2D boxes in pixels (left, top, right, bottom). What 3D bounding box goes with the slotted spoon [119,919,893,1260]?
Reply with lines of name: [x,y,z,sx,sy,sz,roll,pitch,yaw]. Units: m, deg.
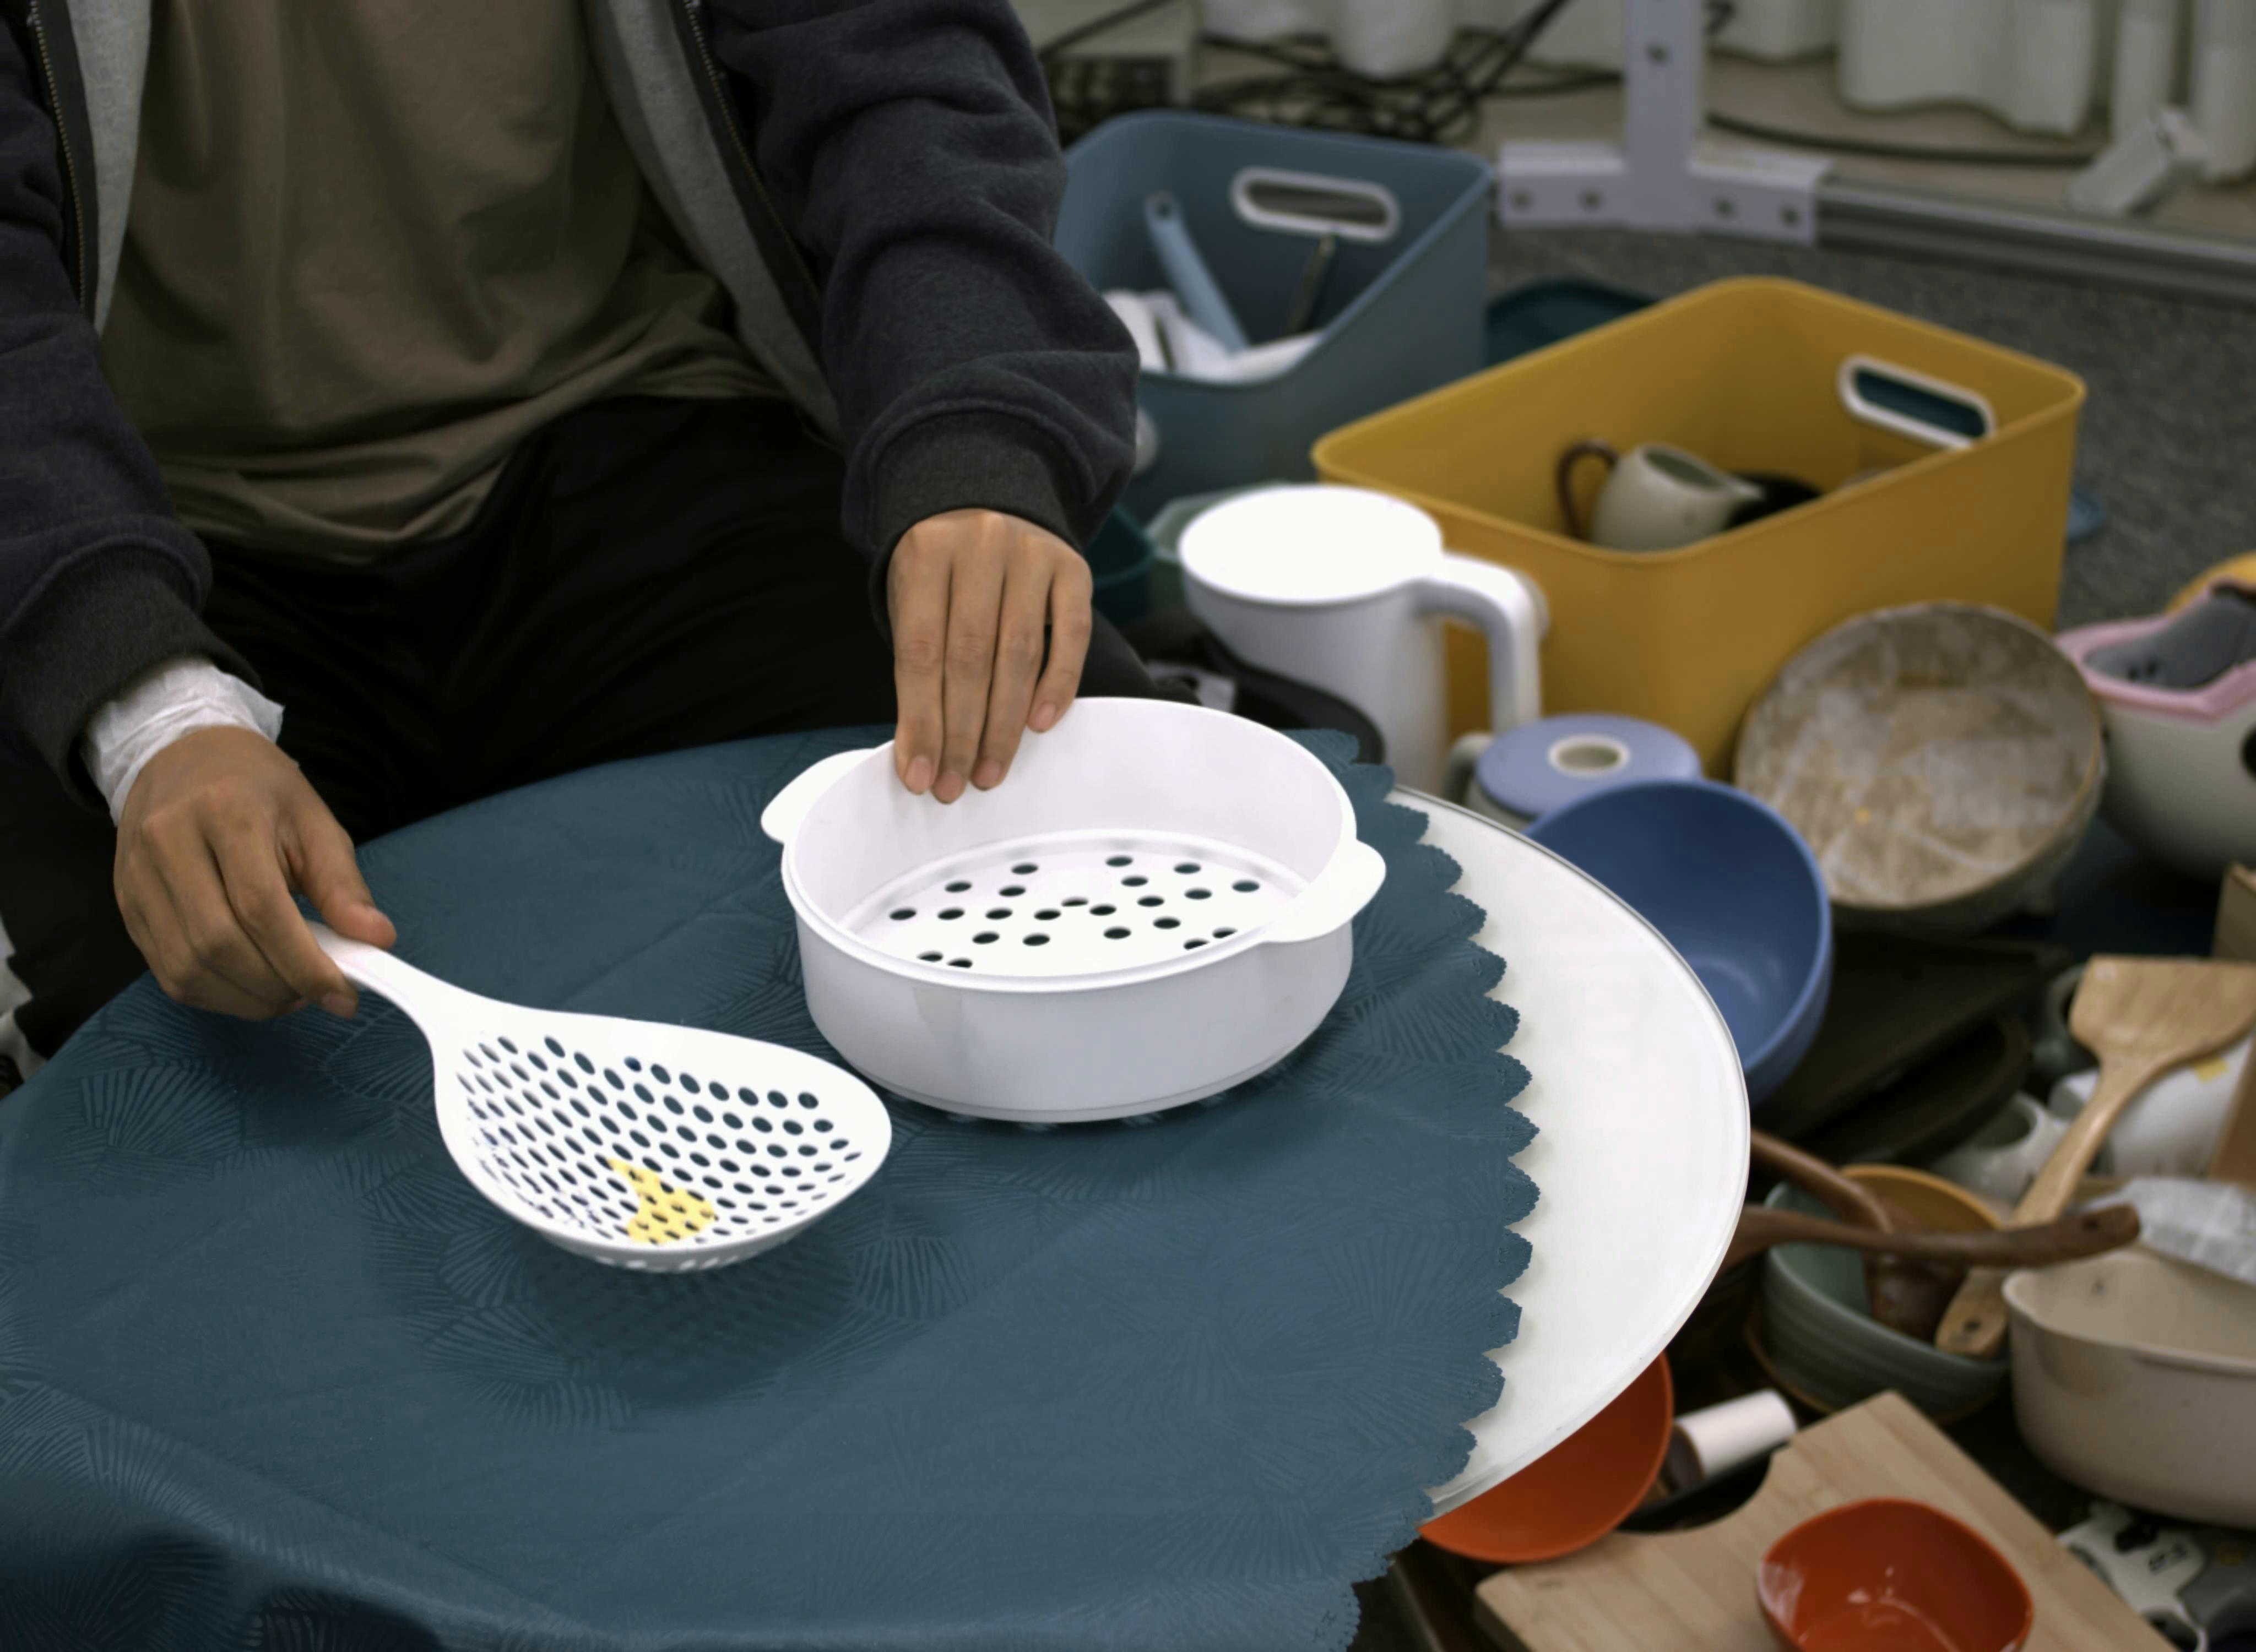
slotted spoon: [-0.224,0.075,1.894,0.347,0.050,0.138,26,39,37]

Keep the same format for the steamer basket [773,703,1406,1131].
steamer basket: [-0.014,0.032,1.961,0.229,0.068,0.205,12,32,24]
